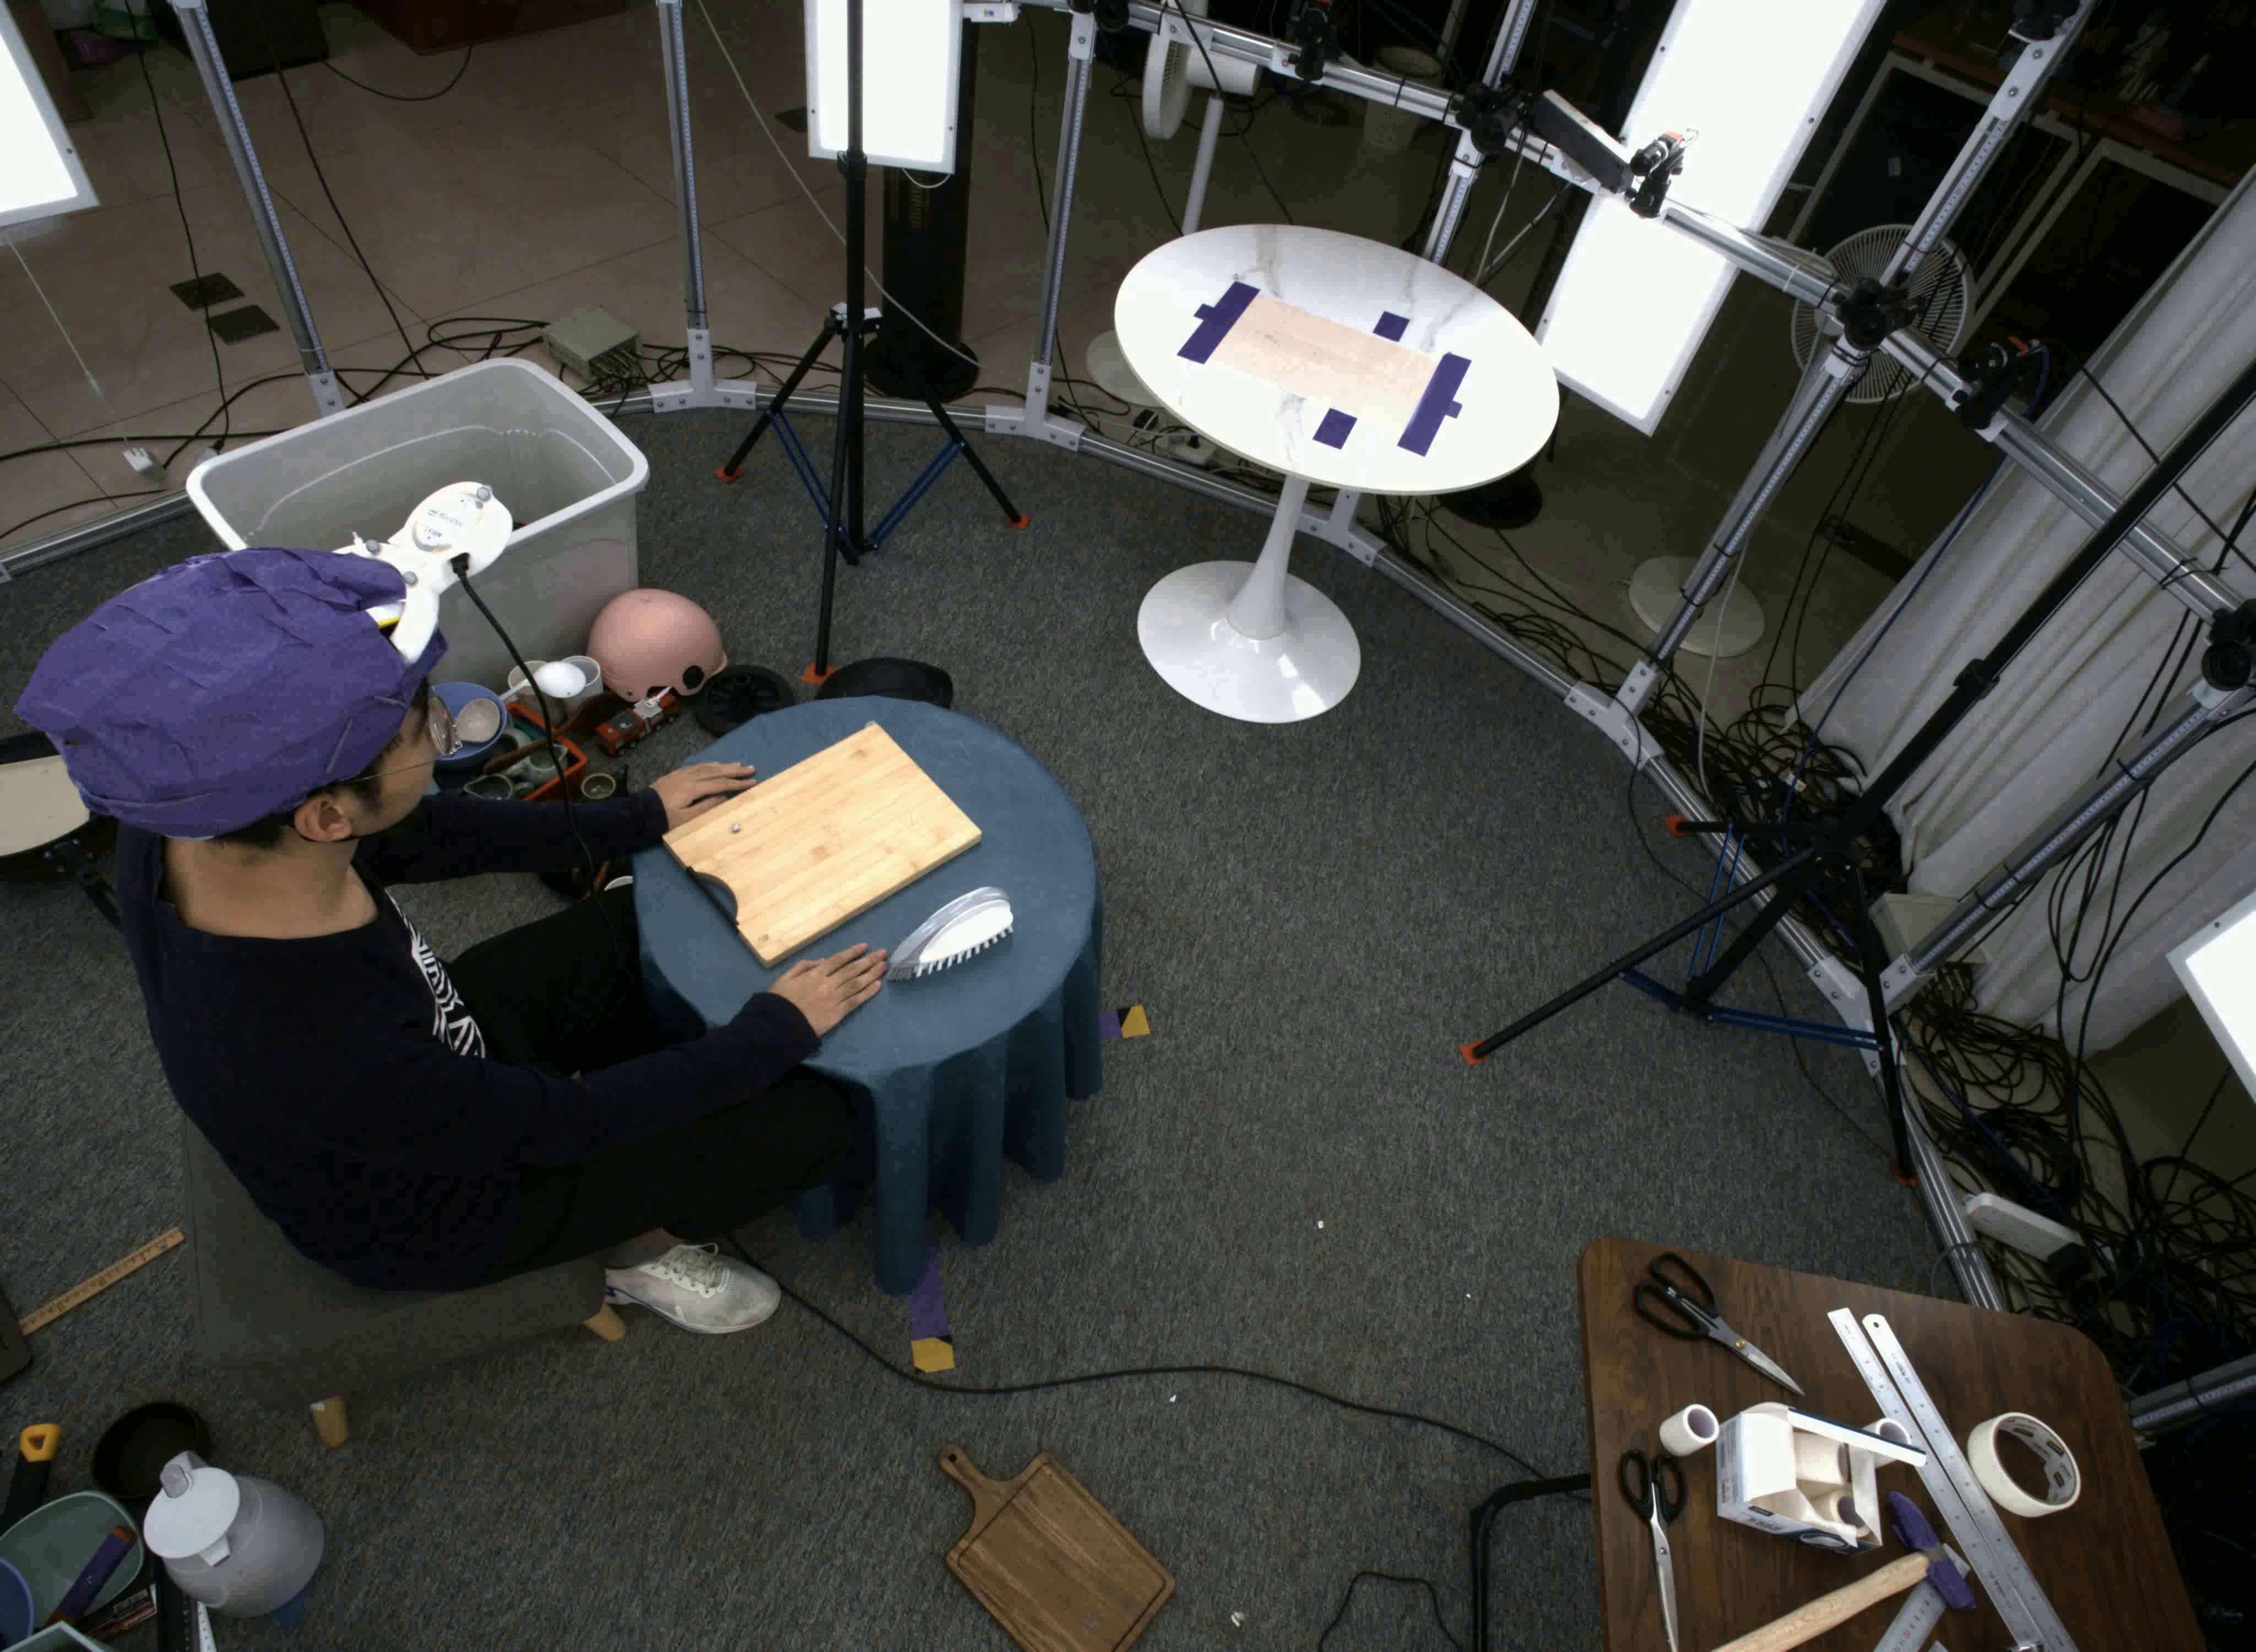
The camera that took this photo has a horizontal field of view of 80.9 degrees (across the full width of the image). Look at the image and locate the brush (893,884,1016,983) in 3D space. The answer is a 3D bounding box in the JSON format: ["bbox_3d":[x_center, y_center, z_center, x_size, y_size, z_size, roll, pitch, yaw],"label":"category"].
[{"bbox_3d":[-0.220,0.128,1.622,0.176,0.096,0.060,-29,62,-27],"label":"brush"}]

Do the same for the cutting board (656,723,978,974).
[{"bbox_3d":[-0.403,0.018,1.707,0.349,0.024,0.245,-34,68,-32],"label":"cutting board"}]
